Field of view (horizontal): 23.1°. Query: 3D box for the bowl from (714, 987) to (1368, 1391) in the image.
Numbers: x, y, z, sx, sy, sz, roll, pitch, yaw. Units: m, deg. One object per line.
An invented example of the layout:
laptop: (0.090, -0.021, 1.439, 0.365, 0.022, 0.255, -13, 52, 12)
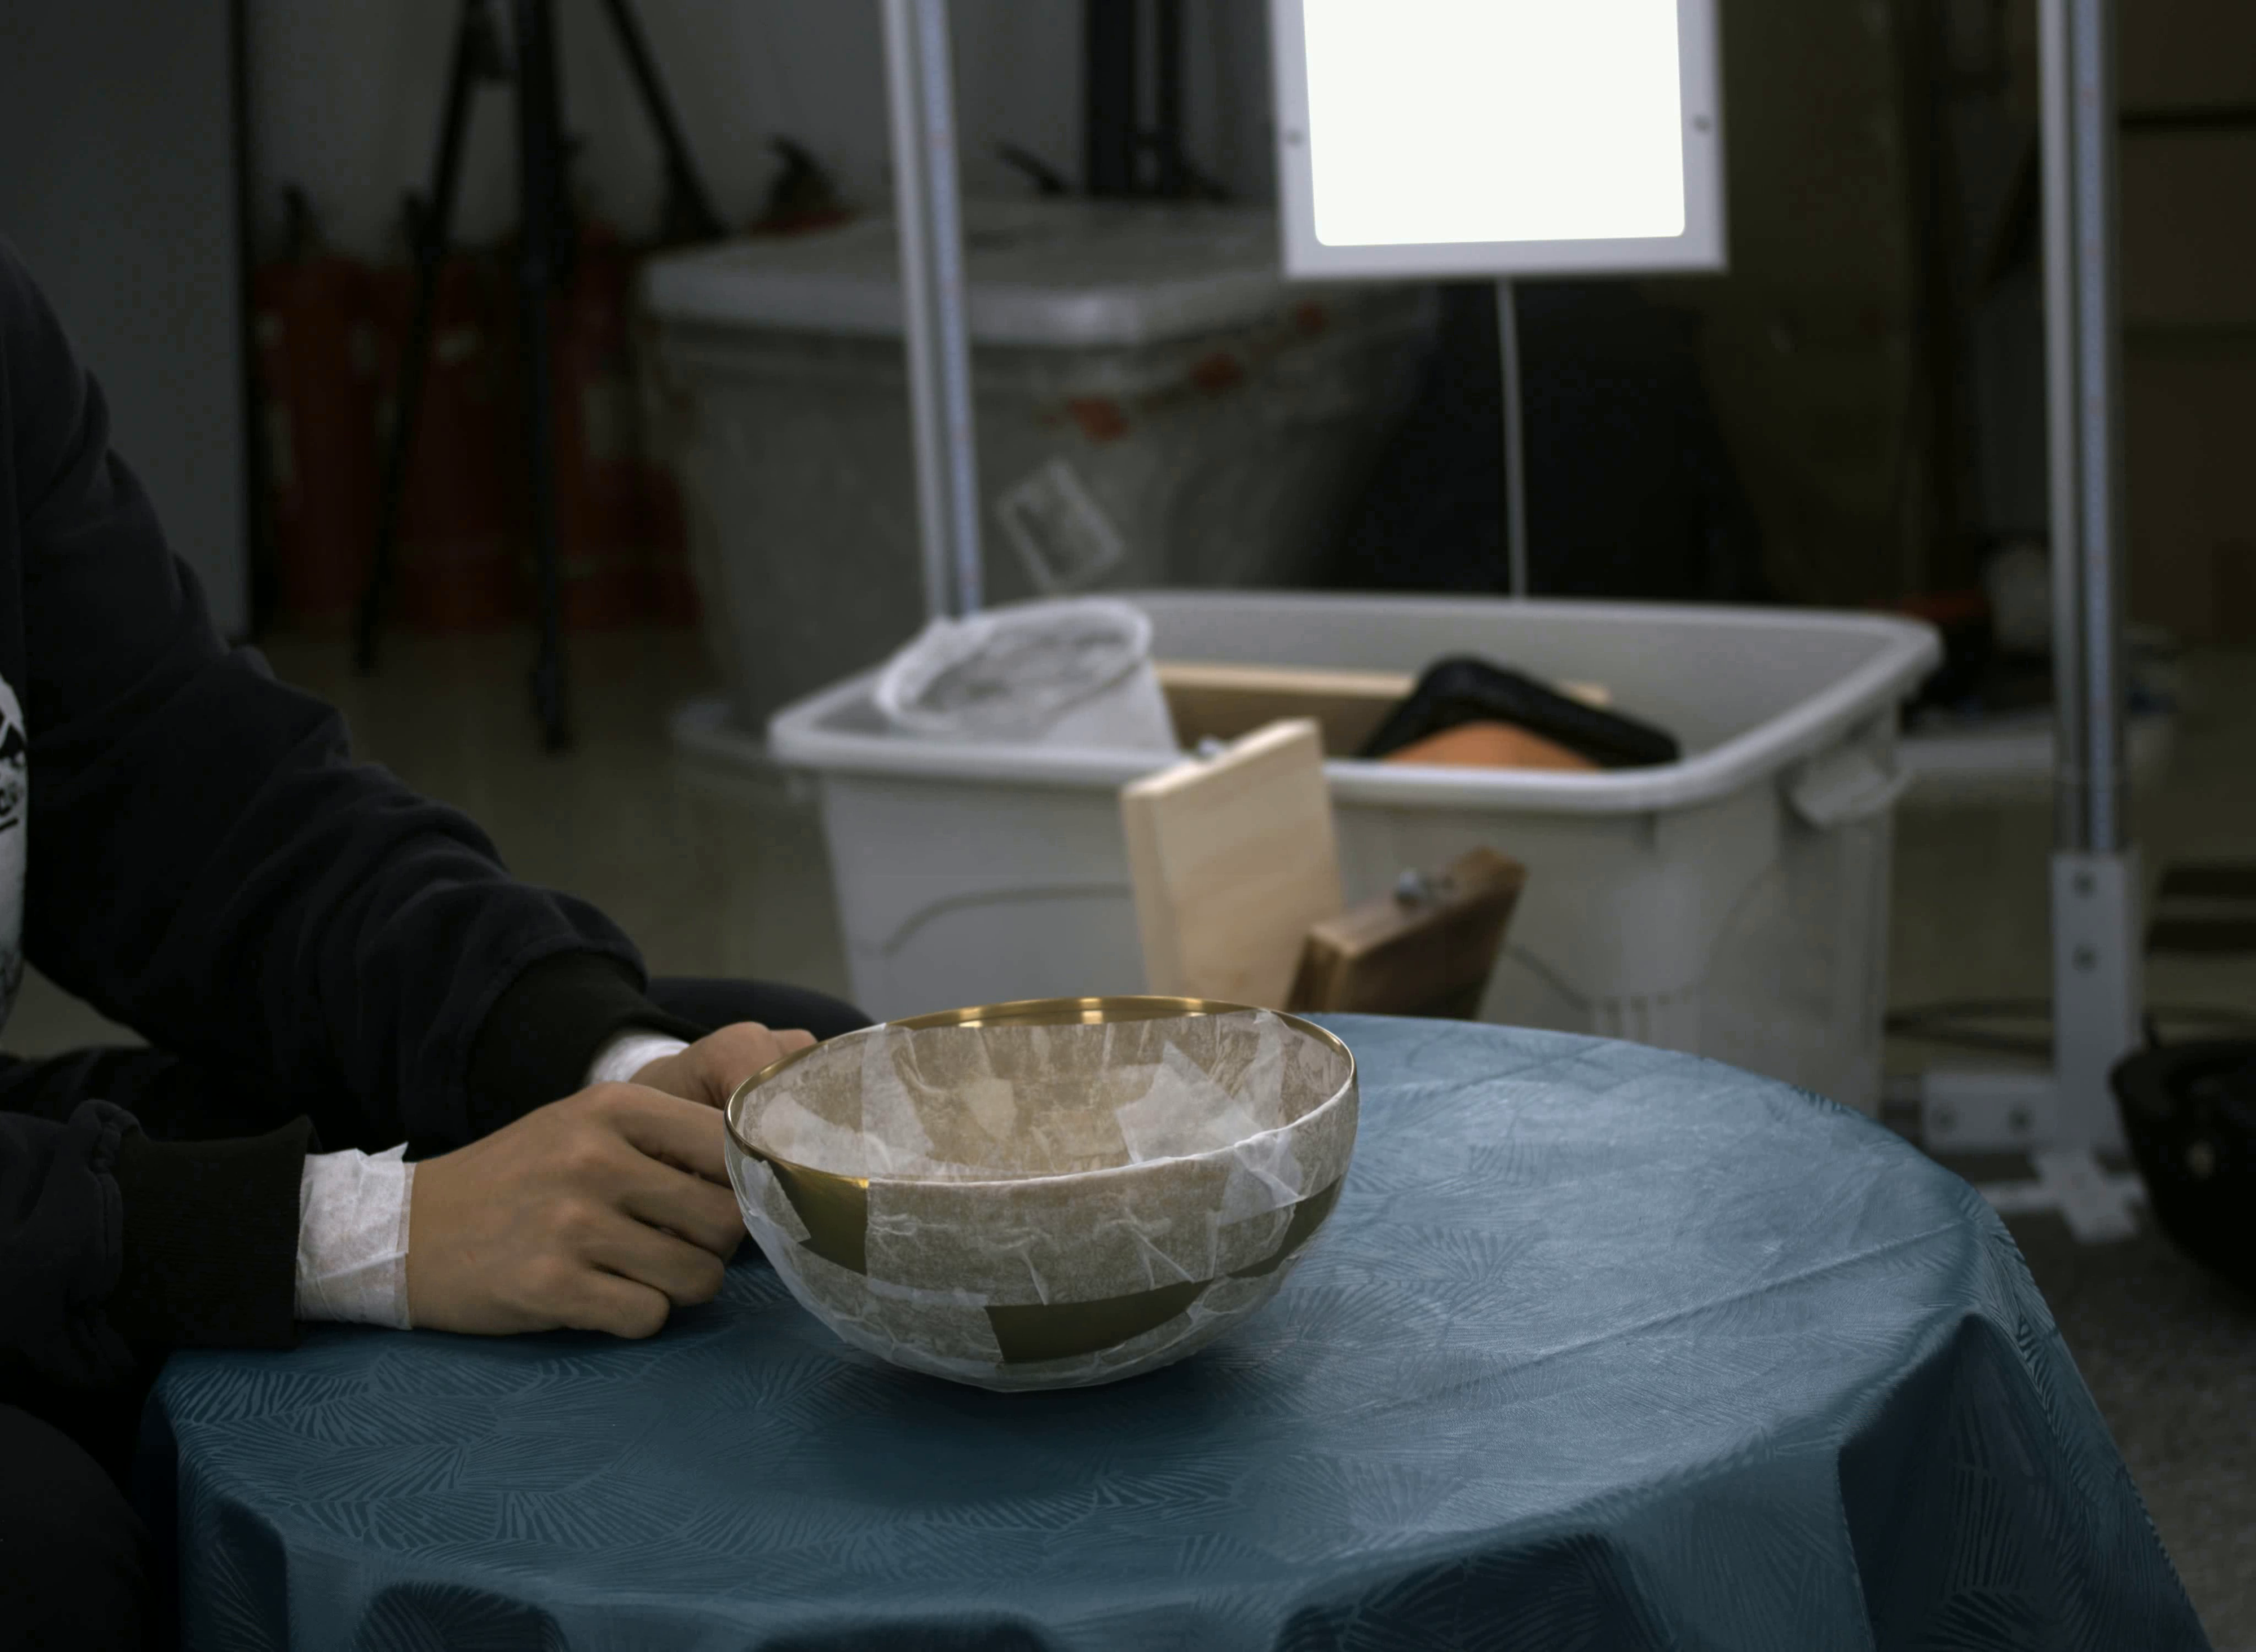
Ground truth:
bowl: (-0.023, 0.121, 1.732, 0.214, 0.095, 0.214, -6, 14, 0)

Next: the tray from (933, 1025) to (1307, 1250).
tray: (-0.004, 0.108, 1.942, 0.100, 0.020, 0.233, -10, 16, -11)
